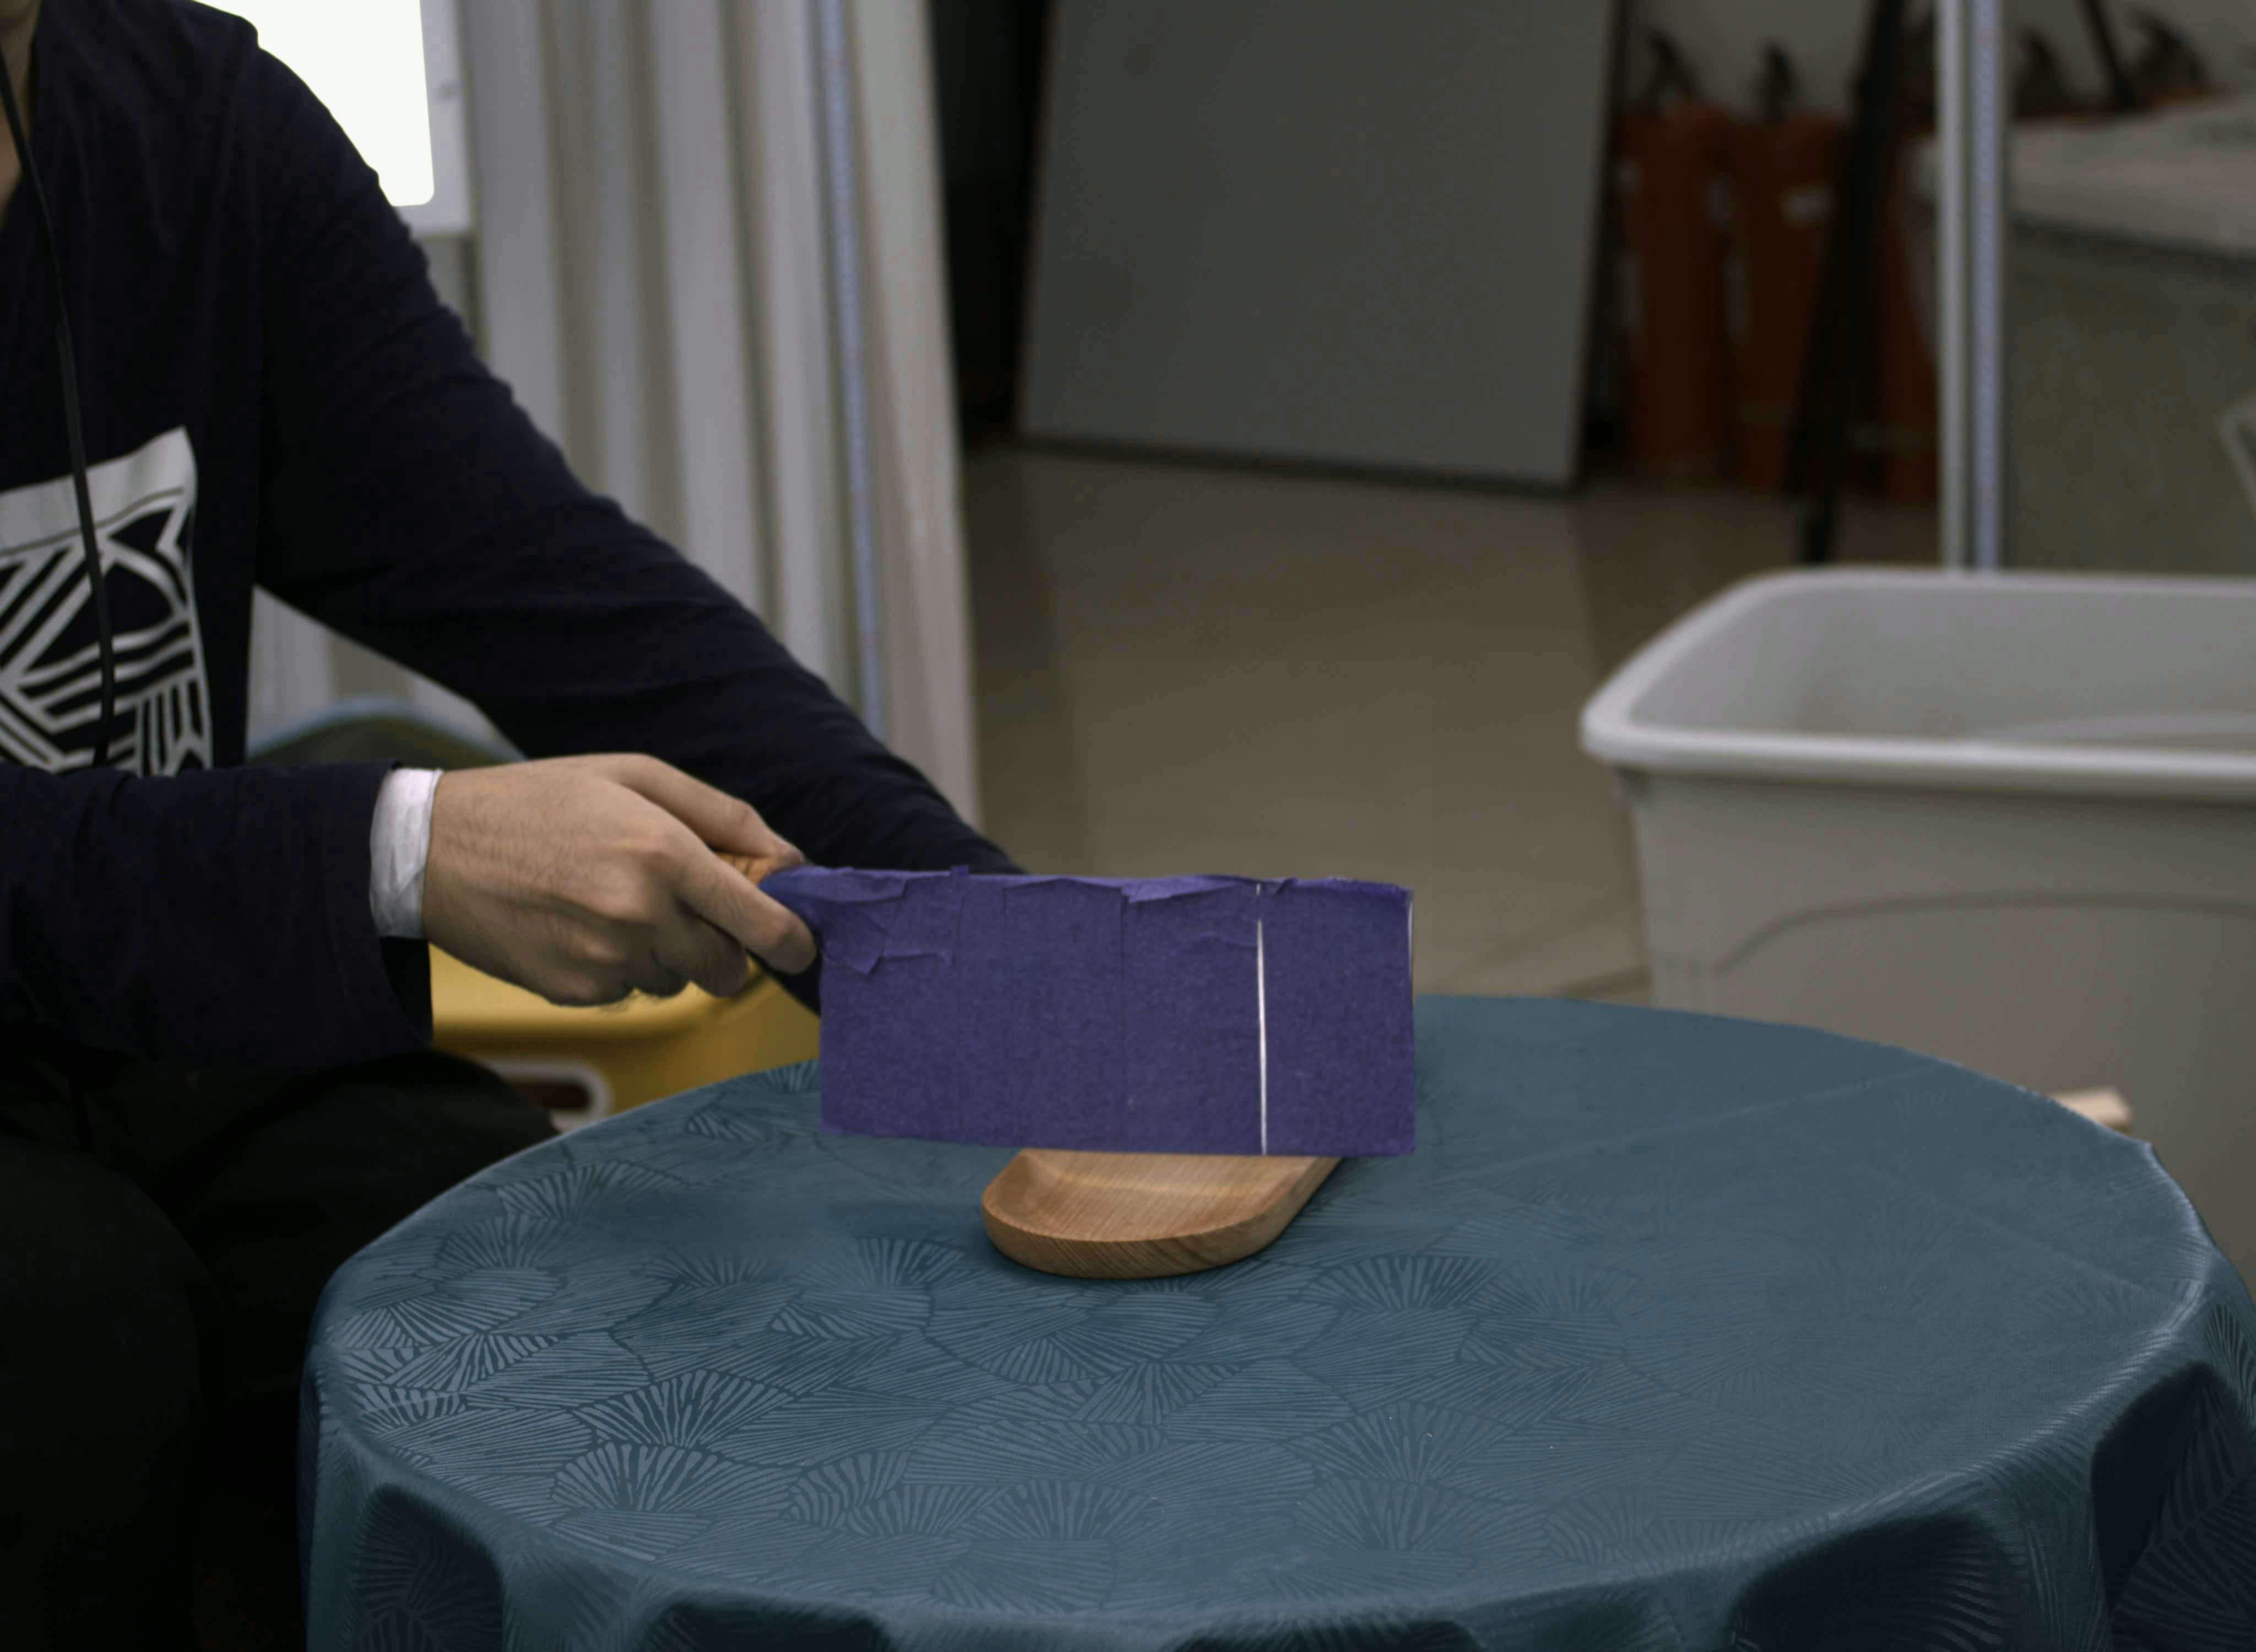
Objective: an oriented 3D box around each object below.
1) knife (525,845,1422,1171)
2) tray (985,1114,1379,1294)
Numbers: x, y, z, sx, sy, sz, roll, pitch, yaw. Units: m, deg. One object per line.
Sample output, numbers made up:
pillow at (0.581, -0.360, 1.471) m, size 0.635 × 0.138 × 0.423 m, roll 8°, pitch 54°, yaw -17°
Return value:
knife at (-0.054, 0.060, 1.770) m, size 0.315 × 0.105 × 0.032 m, roll -1°, pitch -2°, yaw 23°
tray at (0.022, 0.110, 1.784) m, size 0.101 × 0.020 × 0.229 m, roll -1°, pitch 16°, yaw 17°
